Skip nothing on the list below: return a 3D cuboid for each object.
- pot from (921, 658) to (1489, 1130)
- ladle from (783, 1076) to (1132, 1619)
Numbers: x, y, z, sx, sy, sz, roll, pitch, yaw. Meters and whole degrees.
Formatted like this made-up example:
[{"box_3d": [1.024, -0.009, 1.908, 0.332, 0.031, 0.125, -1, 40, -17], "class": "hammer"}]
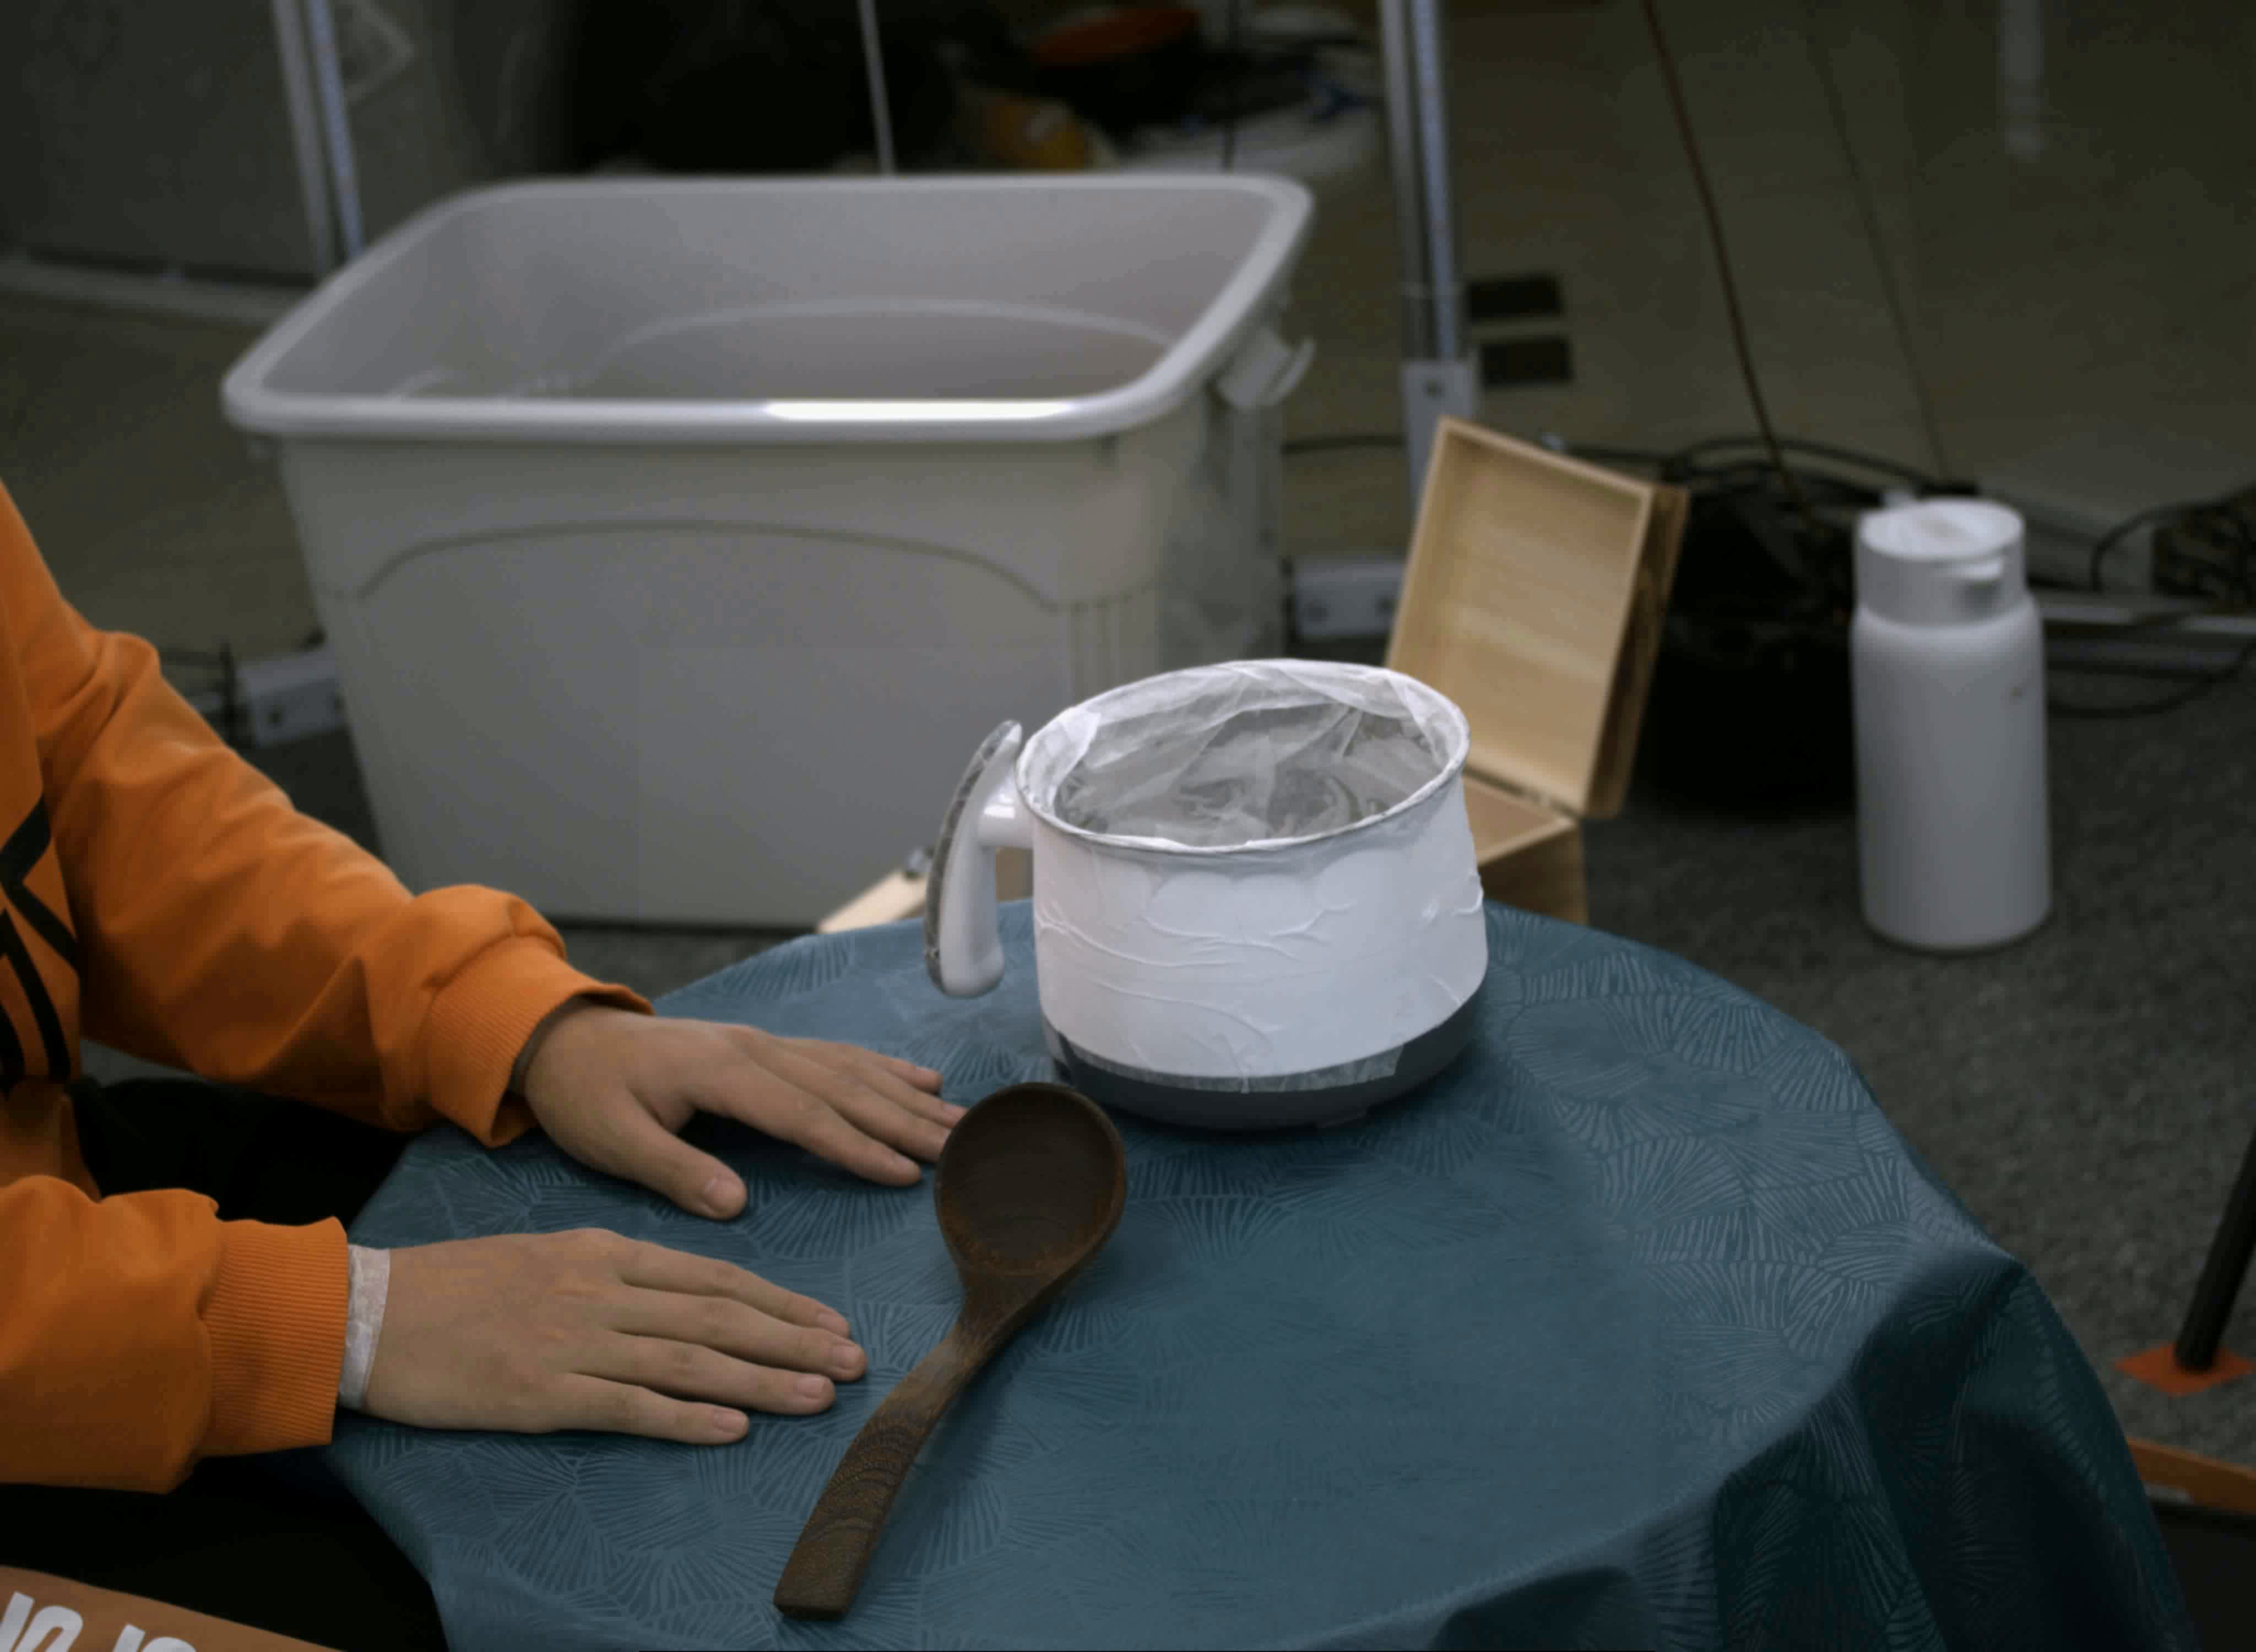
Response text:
[{"box_3d": [0.025, 0.026, 2.216, 0.233, 0.139, 0.176, 5, 27, 21], "class": "pot"}, {"box_3d": [-0.067, 0.177, 1.999, 0.076, 0.072, 0.270, 0, 25, 20], "class": "ladle"}]
